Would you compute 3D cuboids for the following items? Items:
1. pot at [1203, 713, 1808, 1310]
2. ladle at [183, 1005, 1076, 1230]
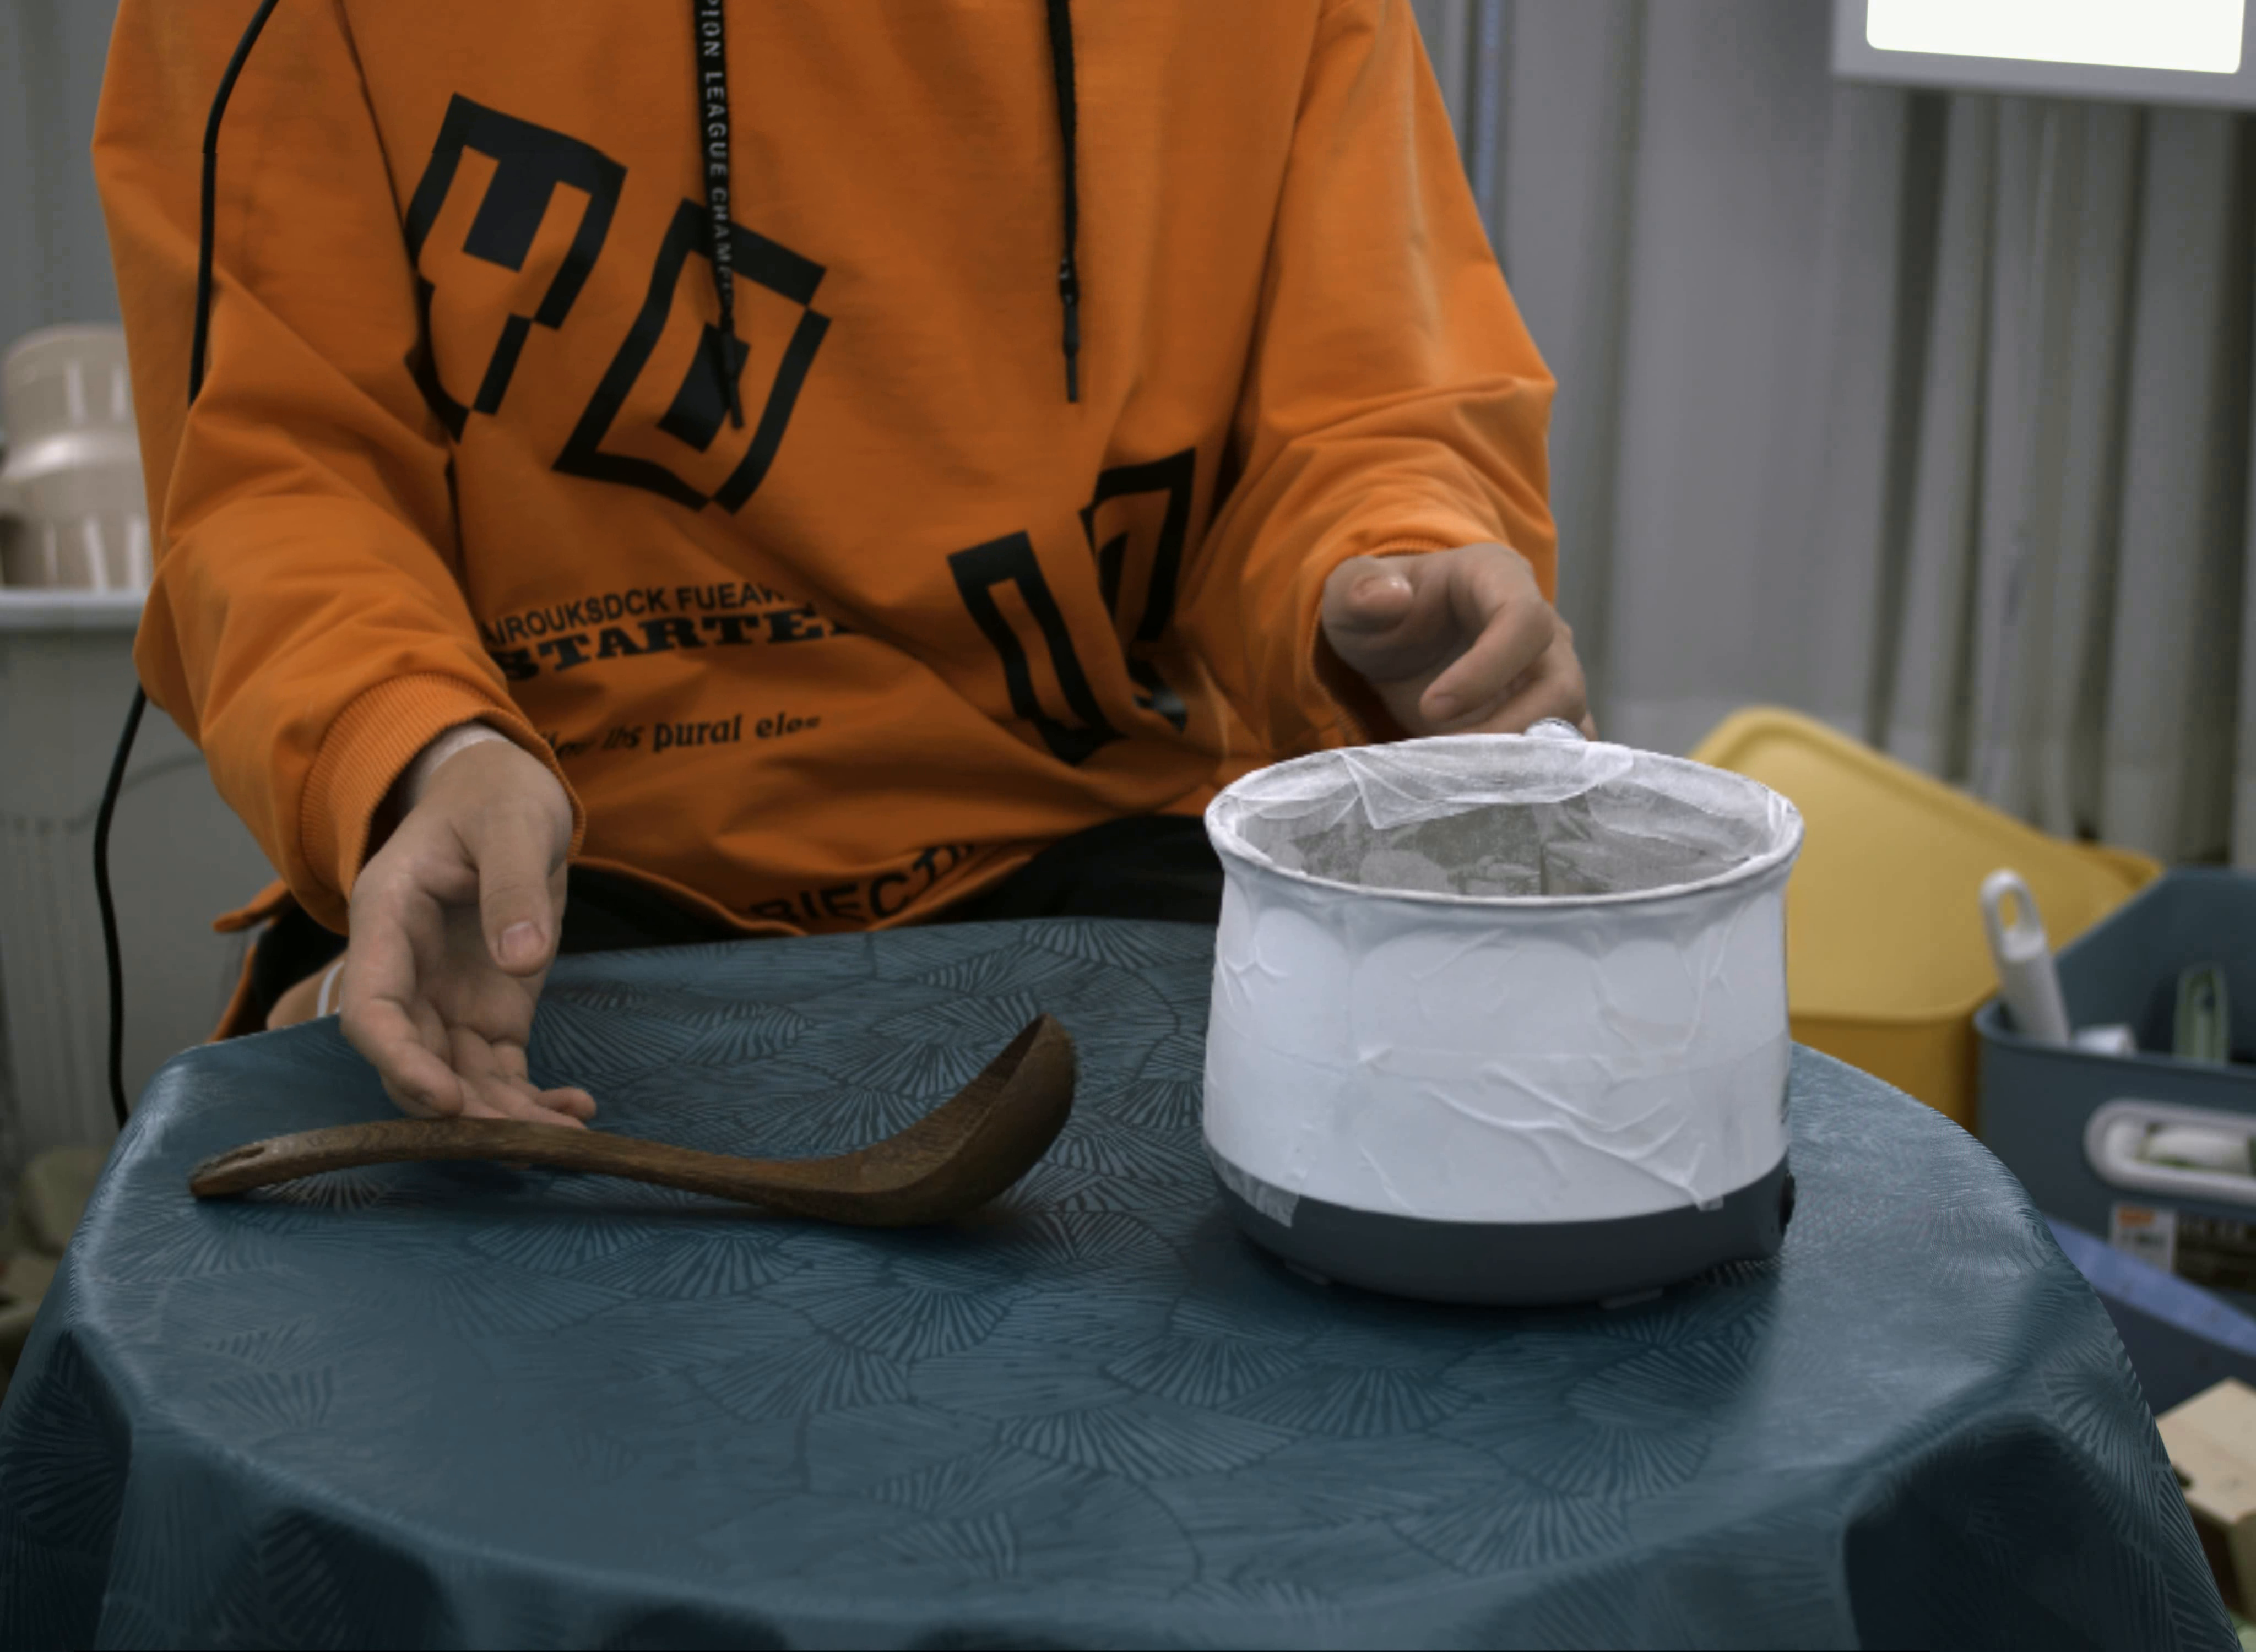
[{"bbox_3d":[0.116,0.050,1.593,0.177,0.138,0.233,4,17,10],"label":"pot"},{"bbox_3d":[-0.152,0.083,1.592,0.273,0.072,0.076,3,13,5],"label":"ladle"}]
